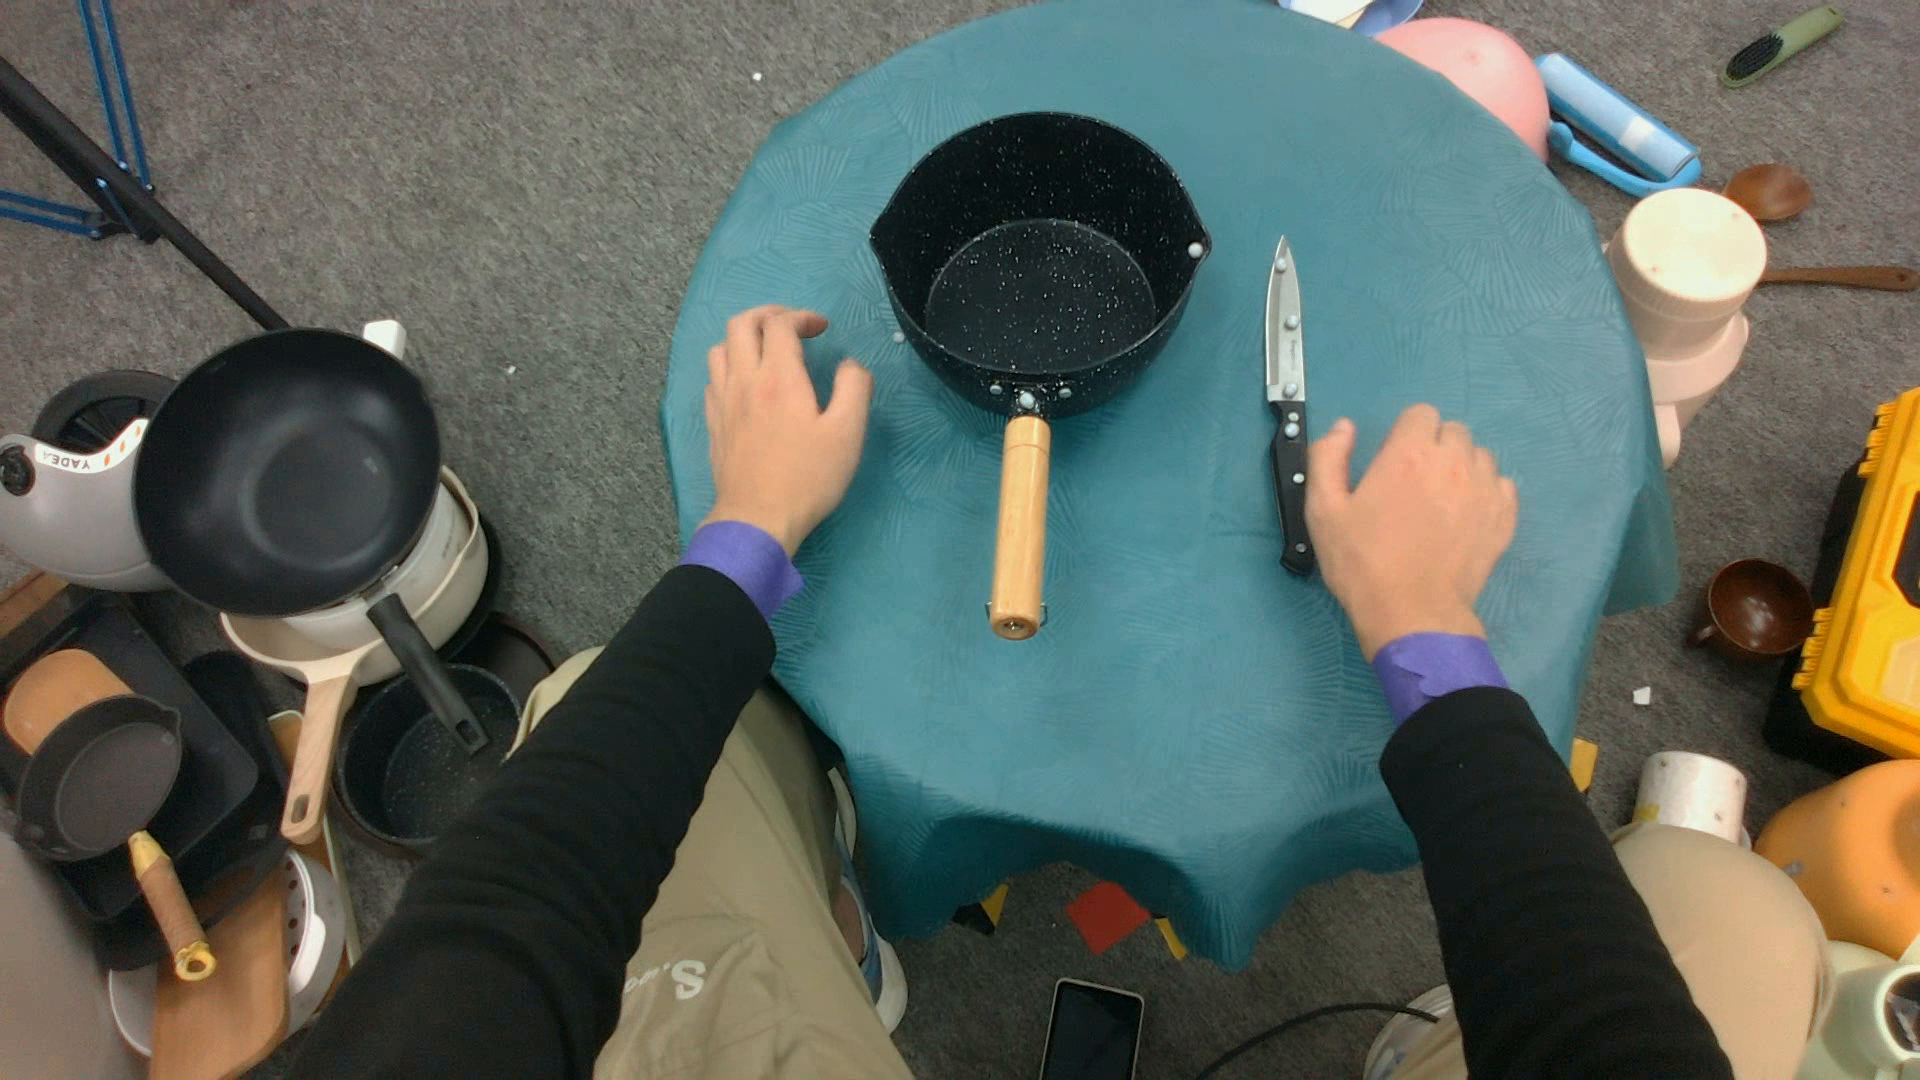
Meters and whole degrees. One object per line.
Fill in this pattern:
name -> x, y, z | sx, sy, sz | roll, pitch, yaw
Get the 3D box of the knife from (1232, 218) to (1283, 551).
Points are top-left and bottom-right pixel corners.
knife -> 0.181, -0.102, 0.837 | 0.024, 0.016, 0.239 | -1, 63, 6

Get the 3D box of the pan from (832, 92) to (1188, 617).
pan -> 0.026, -0.102, 0.794 | 0.207, 0.108, 0.344 | 1, 65, 3
